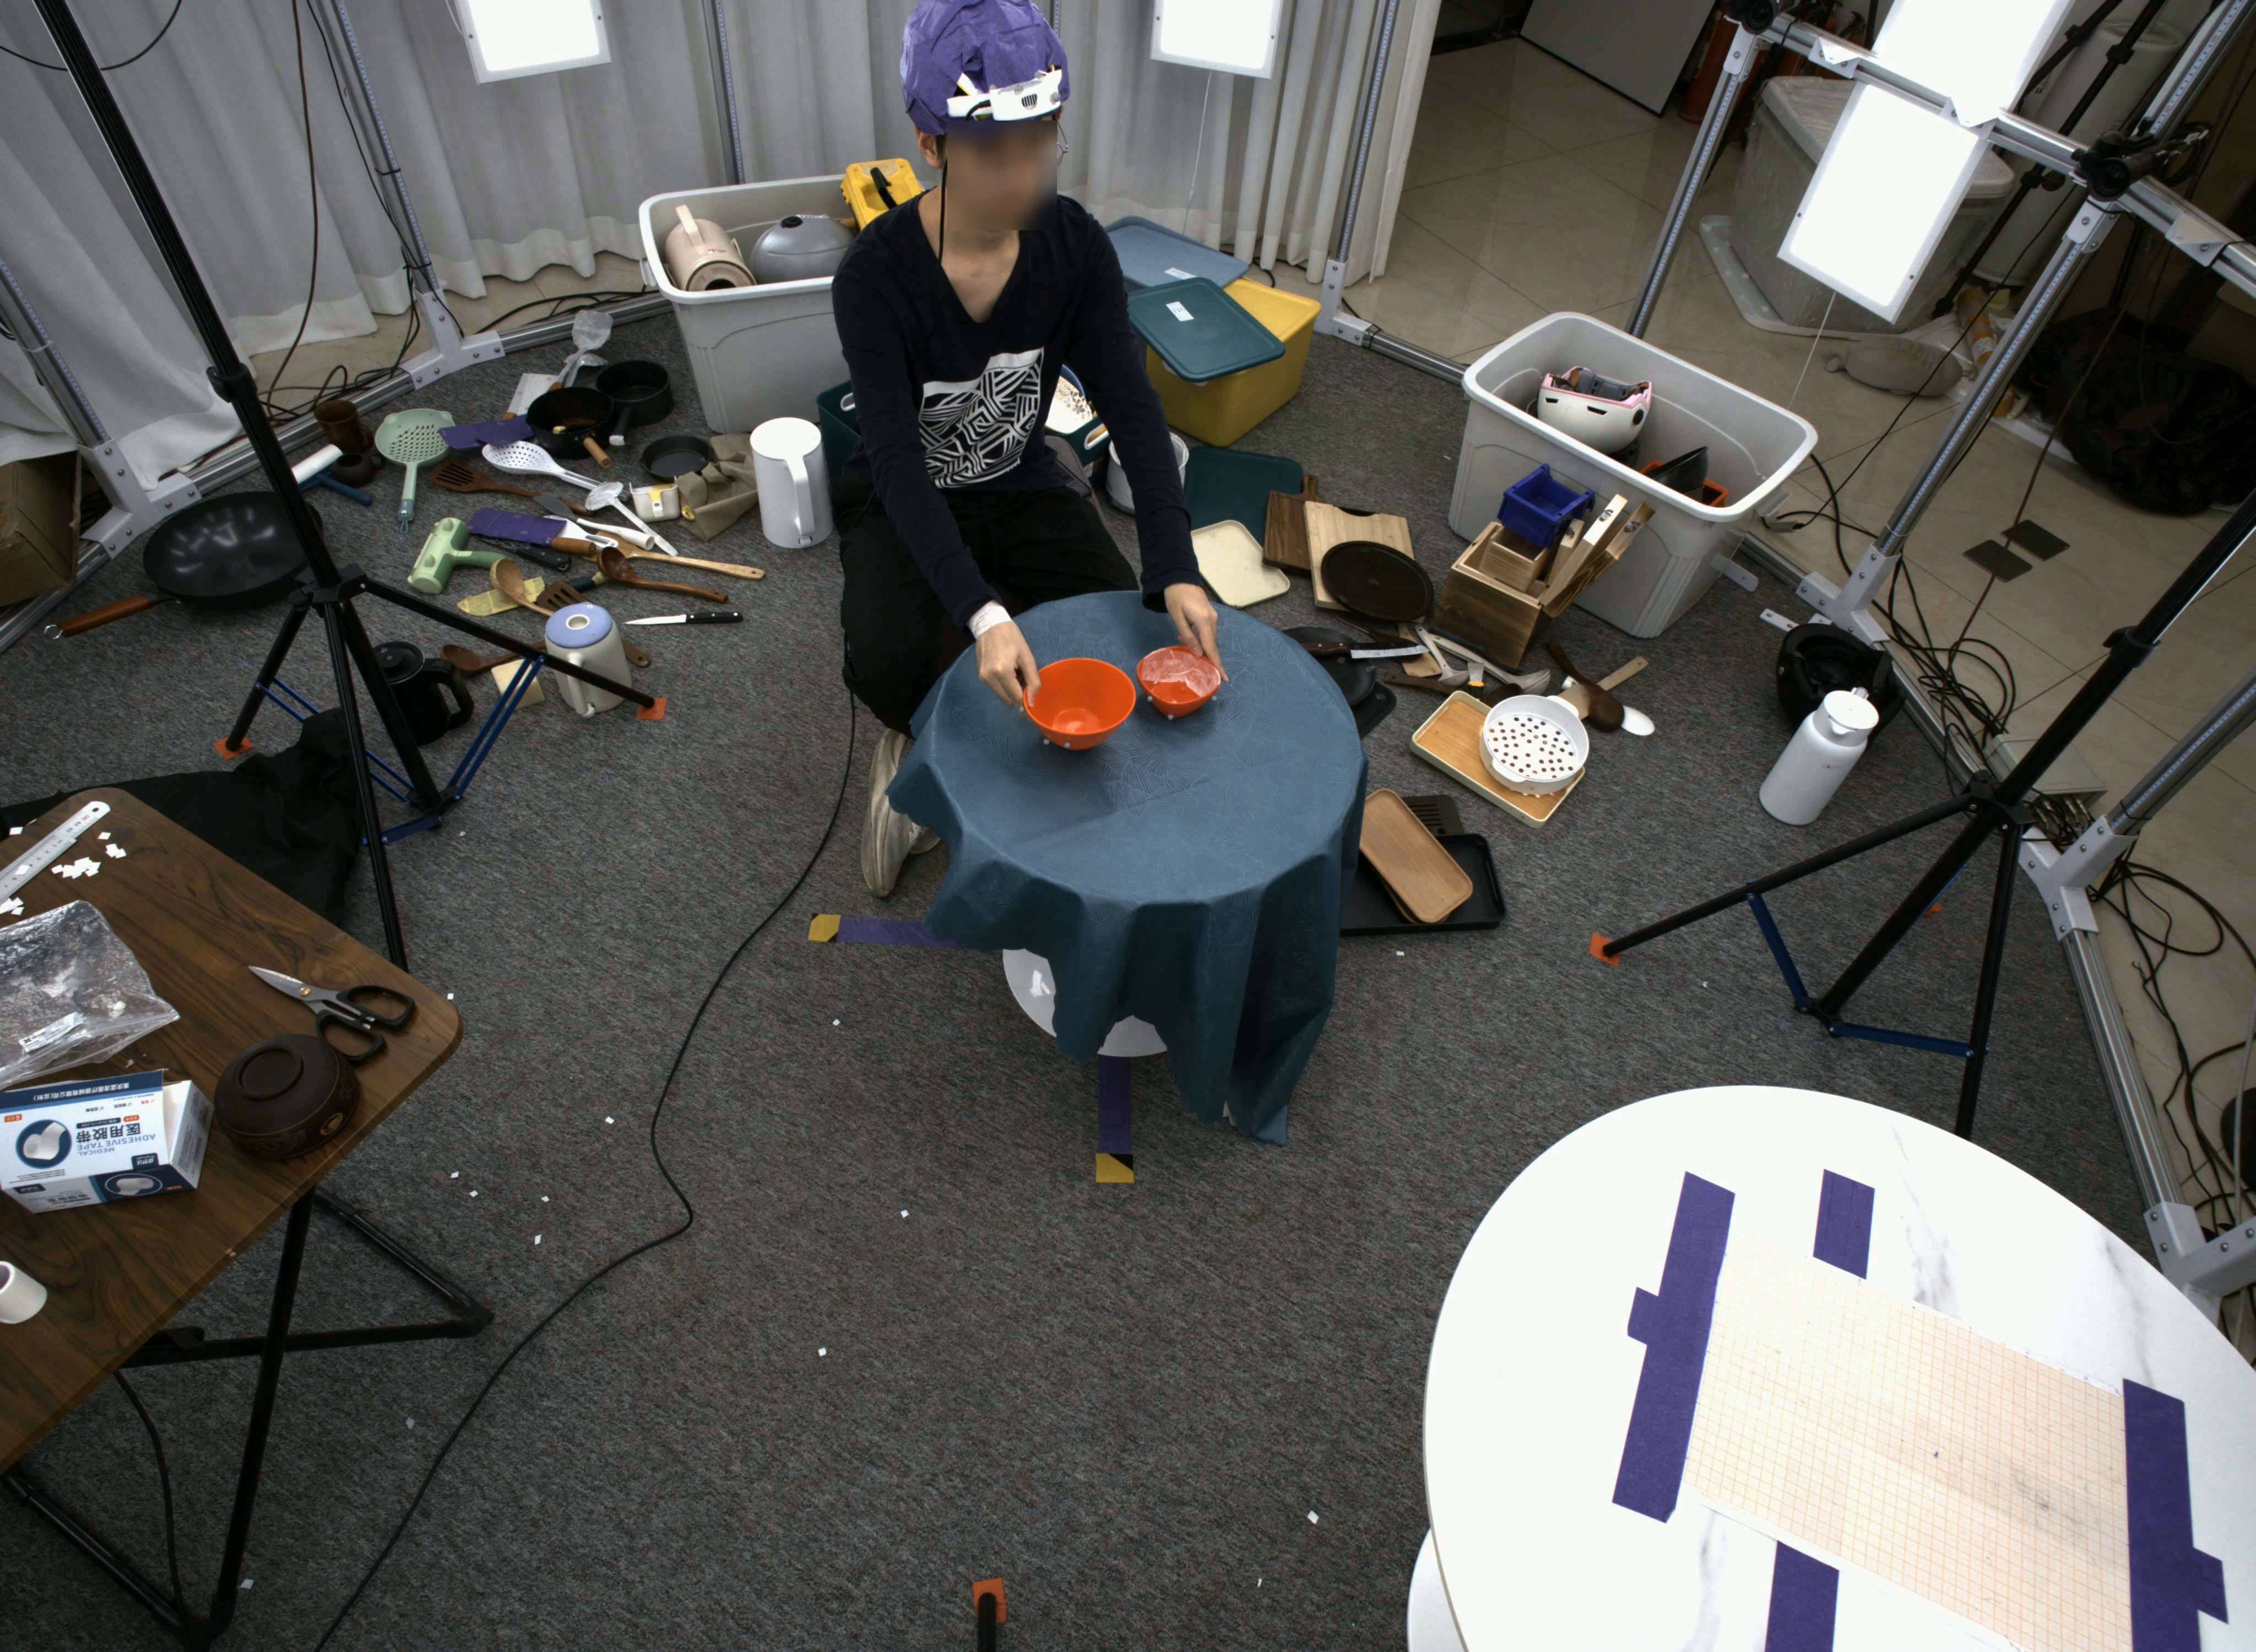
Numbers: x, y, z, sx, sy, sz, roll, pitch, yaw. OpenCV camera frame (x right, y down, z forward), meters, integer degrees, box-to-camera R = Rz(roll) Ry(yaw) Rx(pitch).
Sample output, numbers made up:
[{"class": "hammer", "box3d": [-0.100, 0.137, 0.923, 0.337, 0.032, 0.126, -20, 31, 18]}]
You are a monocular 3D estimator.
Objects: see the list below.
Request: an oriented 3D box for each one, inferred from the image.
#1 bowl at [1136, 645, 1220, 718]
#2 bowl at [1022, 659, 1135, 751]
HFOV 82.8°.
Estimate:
[{"class": "bowl", "box3d": [0.069, -0.198, 1.811, 0.119, 0.050, 0.122, 1, 50, -1]}, {"class": "bowl", "box3d": [-0.066, -0.148, 1.712, 0.148, 0.102, 0.151, 1, 54, -1]}]
